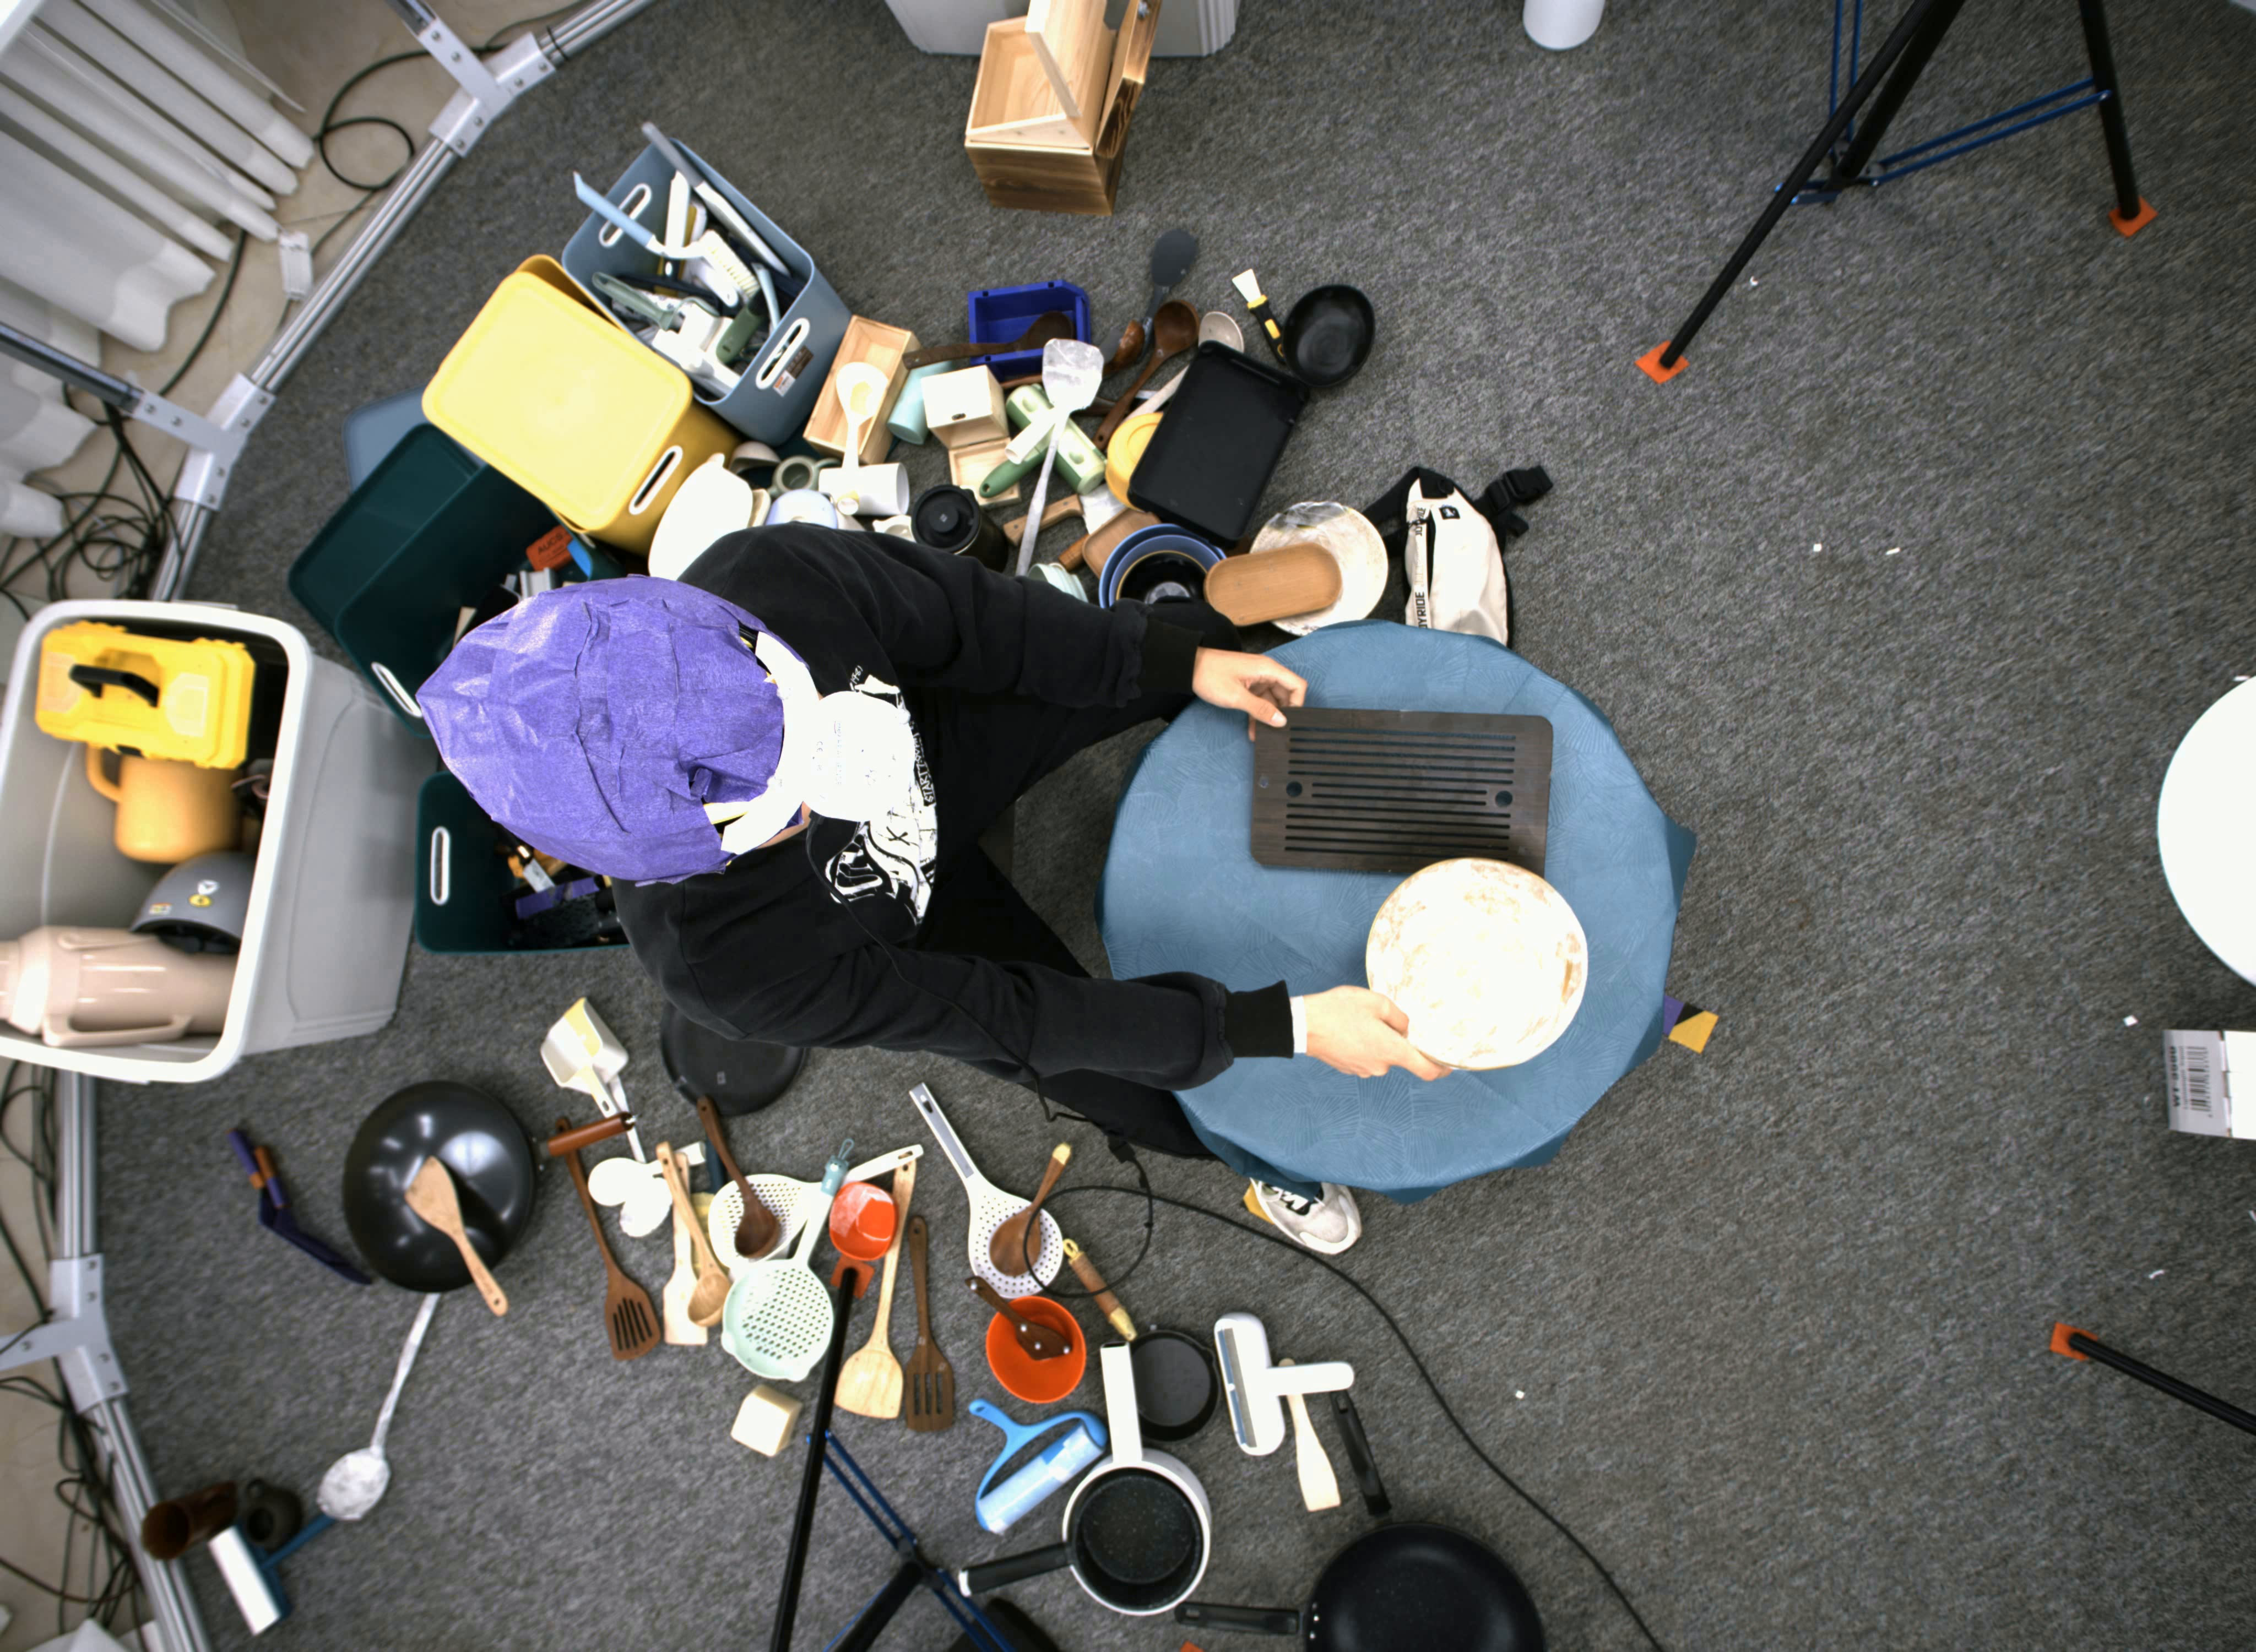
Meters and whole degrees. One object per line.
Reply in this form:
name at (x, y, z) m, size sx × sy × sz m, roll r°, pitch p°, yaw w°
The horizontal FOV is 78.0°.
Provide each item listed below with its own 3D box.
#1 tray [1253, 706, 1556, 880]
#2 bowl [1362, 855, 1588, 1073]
tray at (0.286, -0.038, 1.443) m, size 0.307 × 0.018 × 0.171 m, roll 3°, pitch 99°, yaw 11°
bowl at (0.332, 0.135, 1.327) m, size 0.216 × 0.095 × 0.212 m, roll -4°, pitch 77°, yaw 15°
